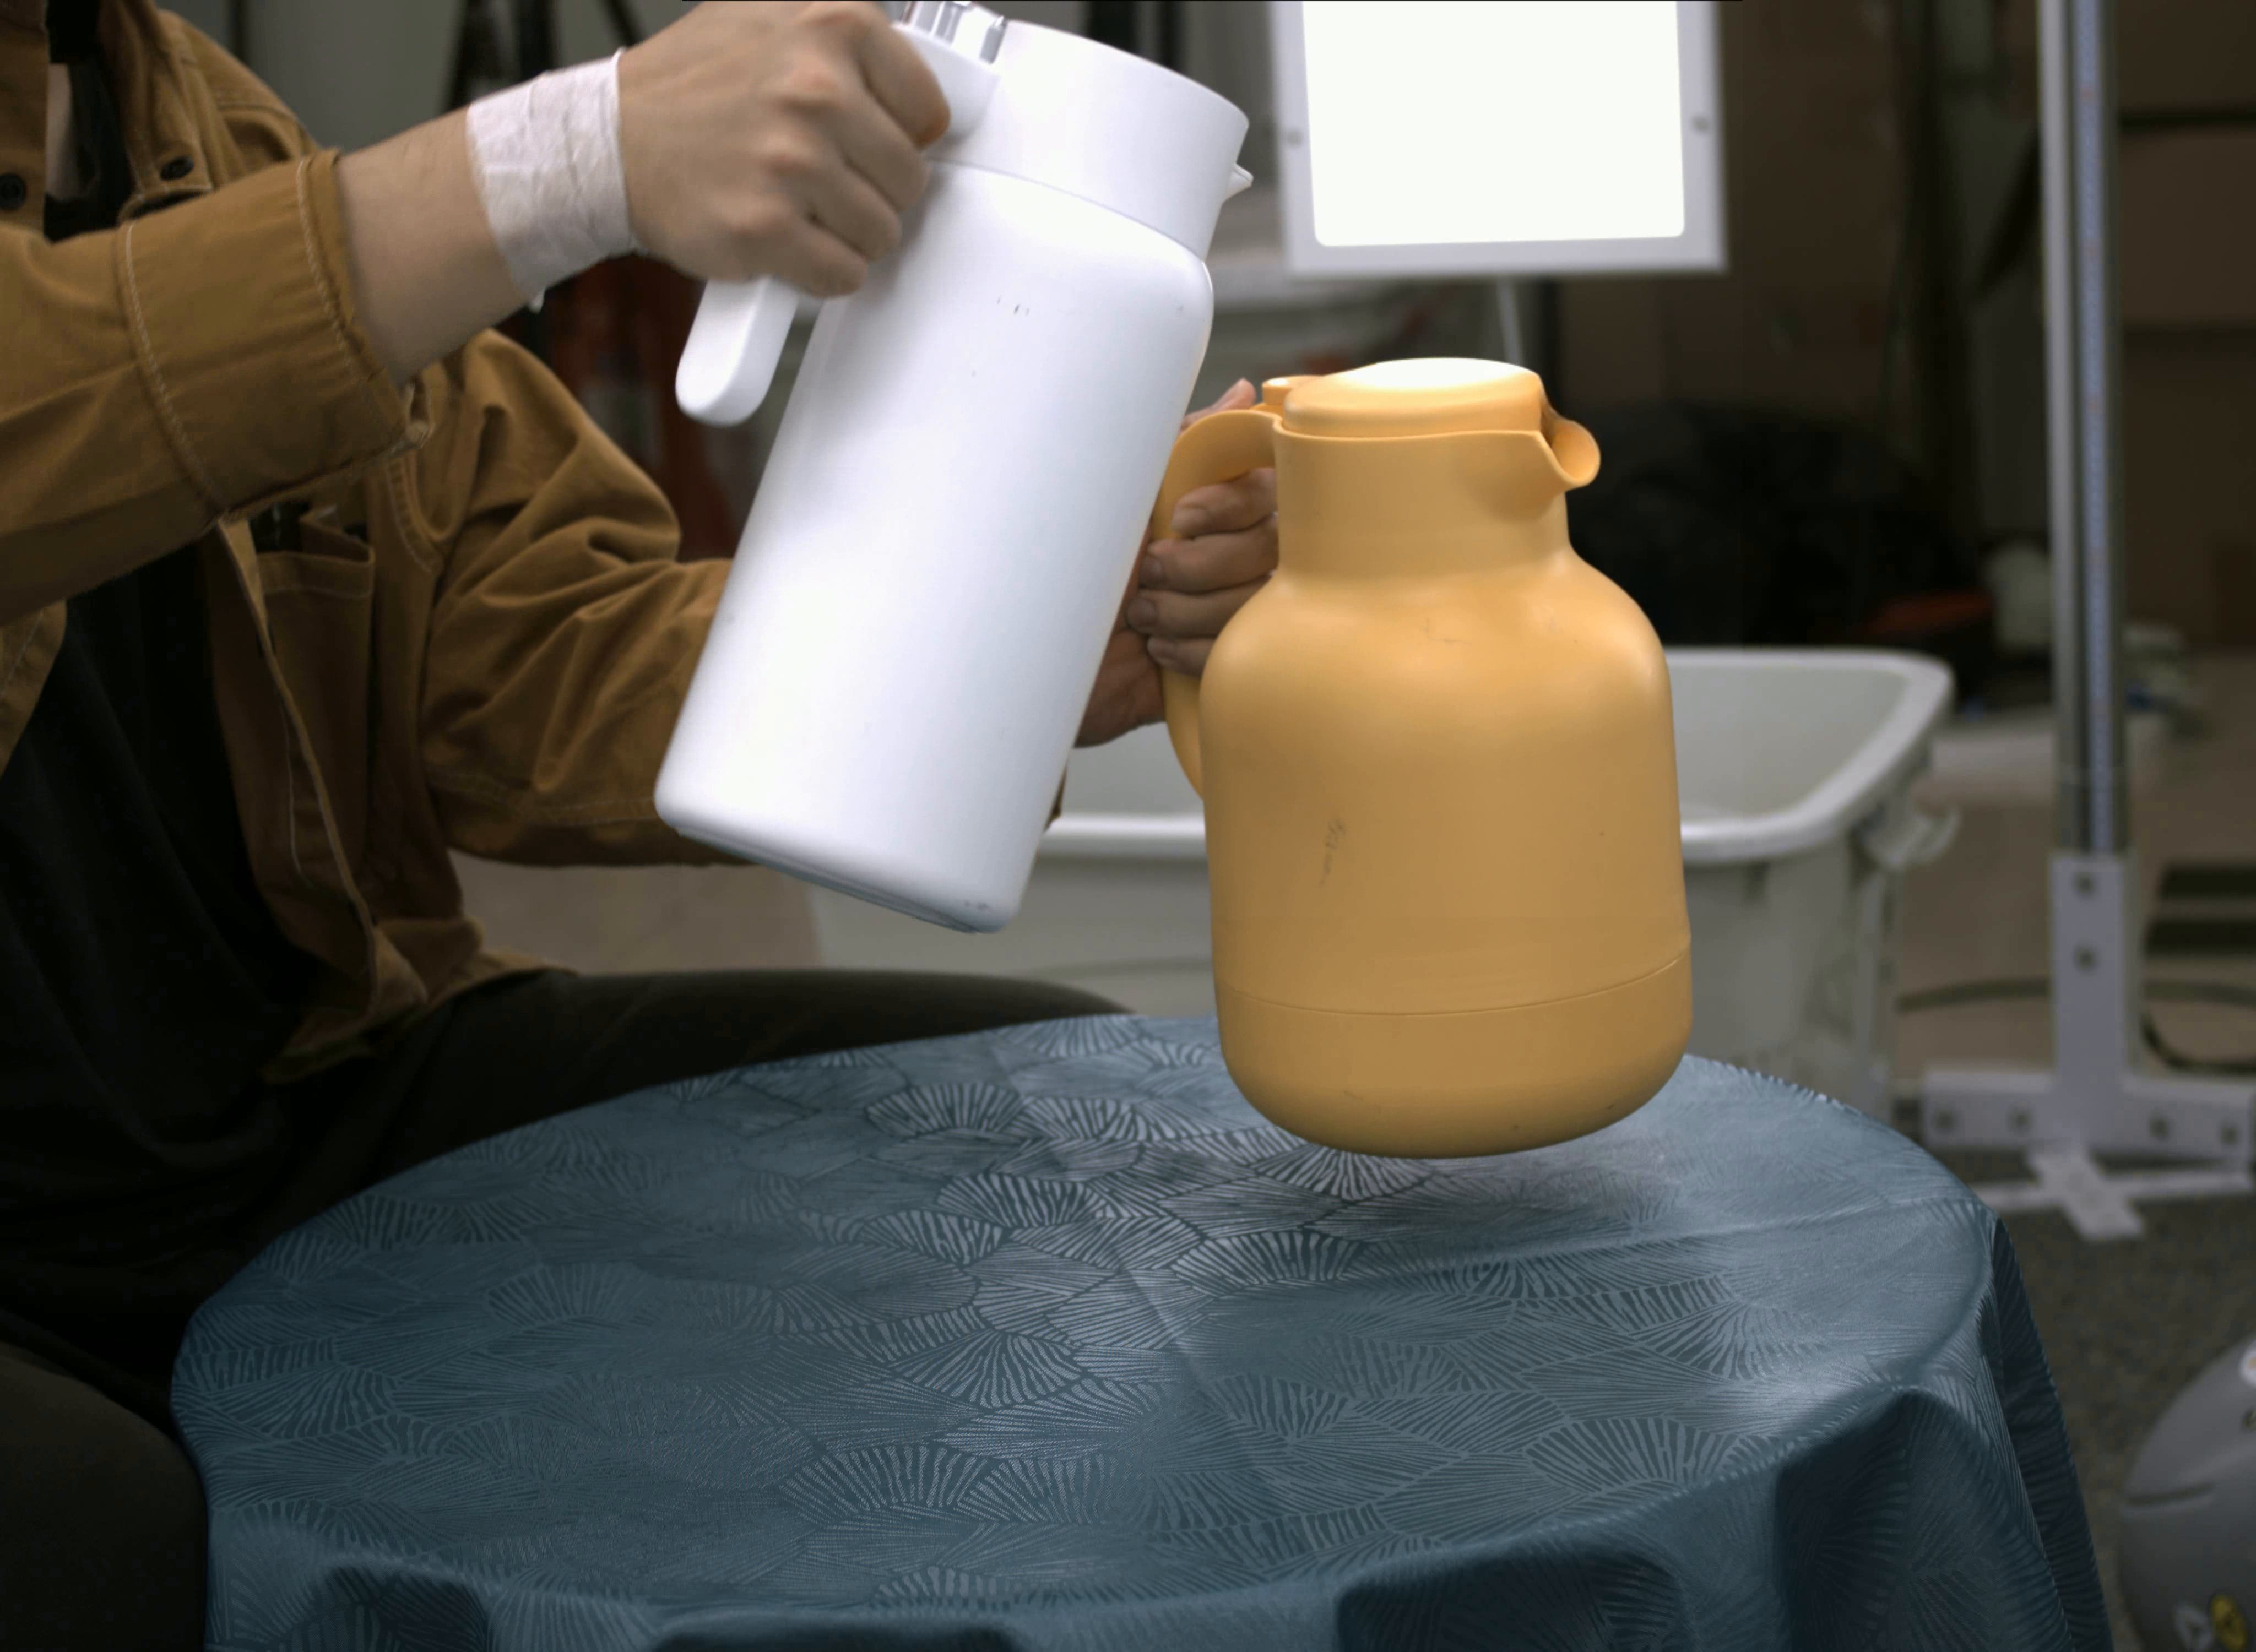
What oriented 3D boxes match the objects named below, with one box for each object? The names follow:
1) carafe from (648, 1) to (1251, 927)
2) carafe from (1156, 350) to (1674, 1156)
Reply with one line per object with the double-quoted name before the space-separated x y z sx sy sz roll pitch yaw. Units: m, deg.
"carafe" -0.062 -0.115 1.678 0.169 0.269 0.126 22 -2 -40
"carafe" 0.090 -0.031 1.867 0.159 0.261 0.206 -12 16 -39
